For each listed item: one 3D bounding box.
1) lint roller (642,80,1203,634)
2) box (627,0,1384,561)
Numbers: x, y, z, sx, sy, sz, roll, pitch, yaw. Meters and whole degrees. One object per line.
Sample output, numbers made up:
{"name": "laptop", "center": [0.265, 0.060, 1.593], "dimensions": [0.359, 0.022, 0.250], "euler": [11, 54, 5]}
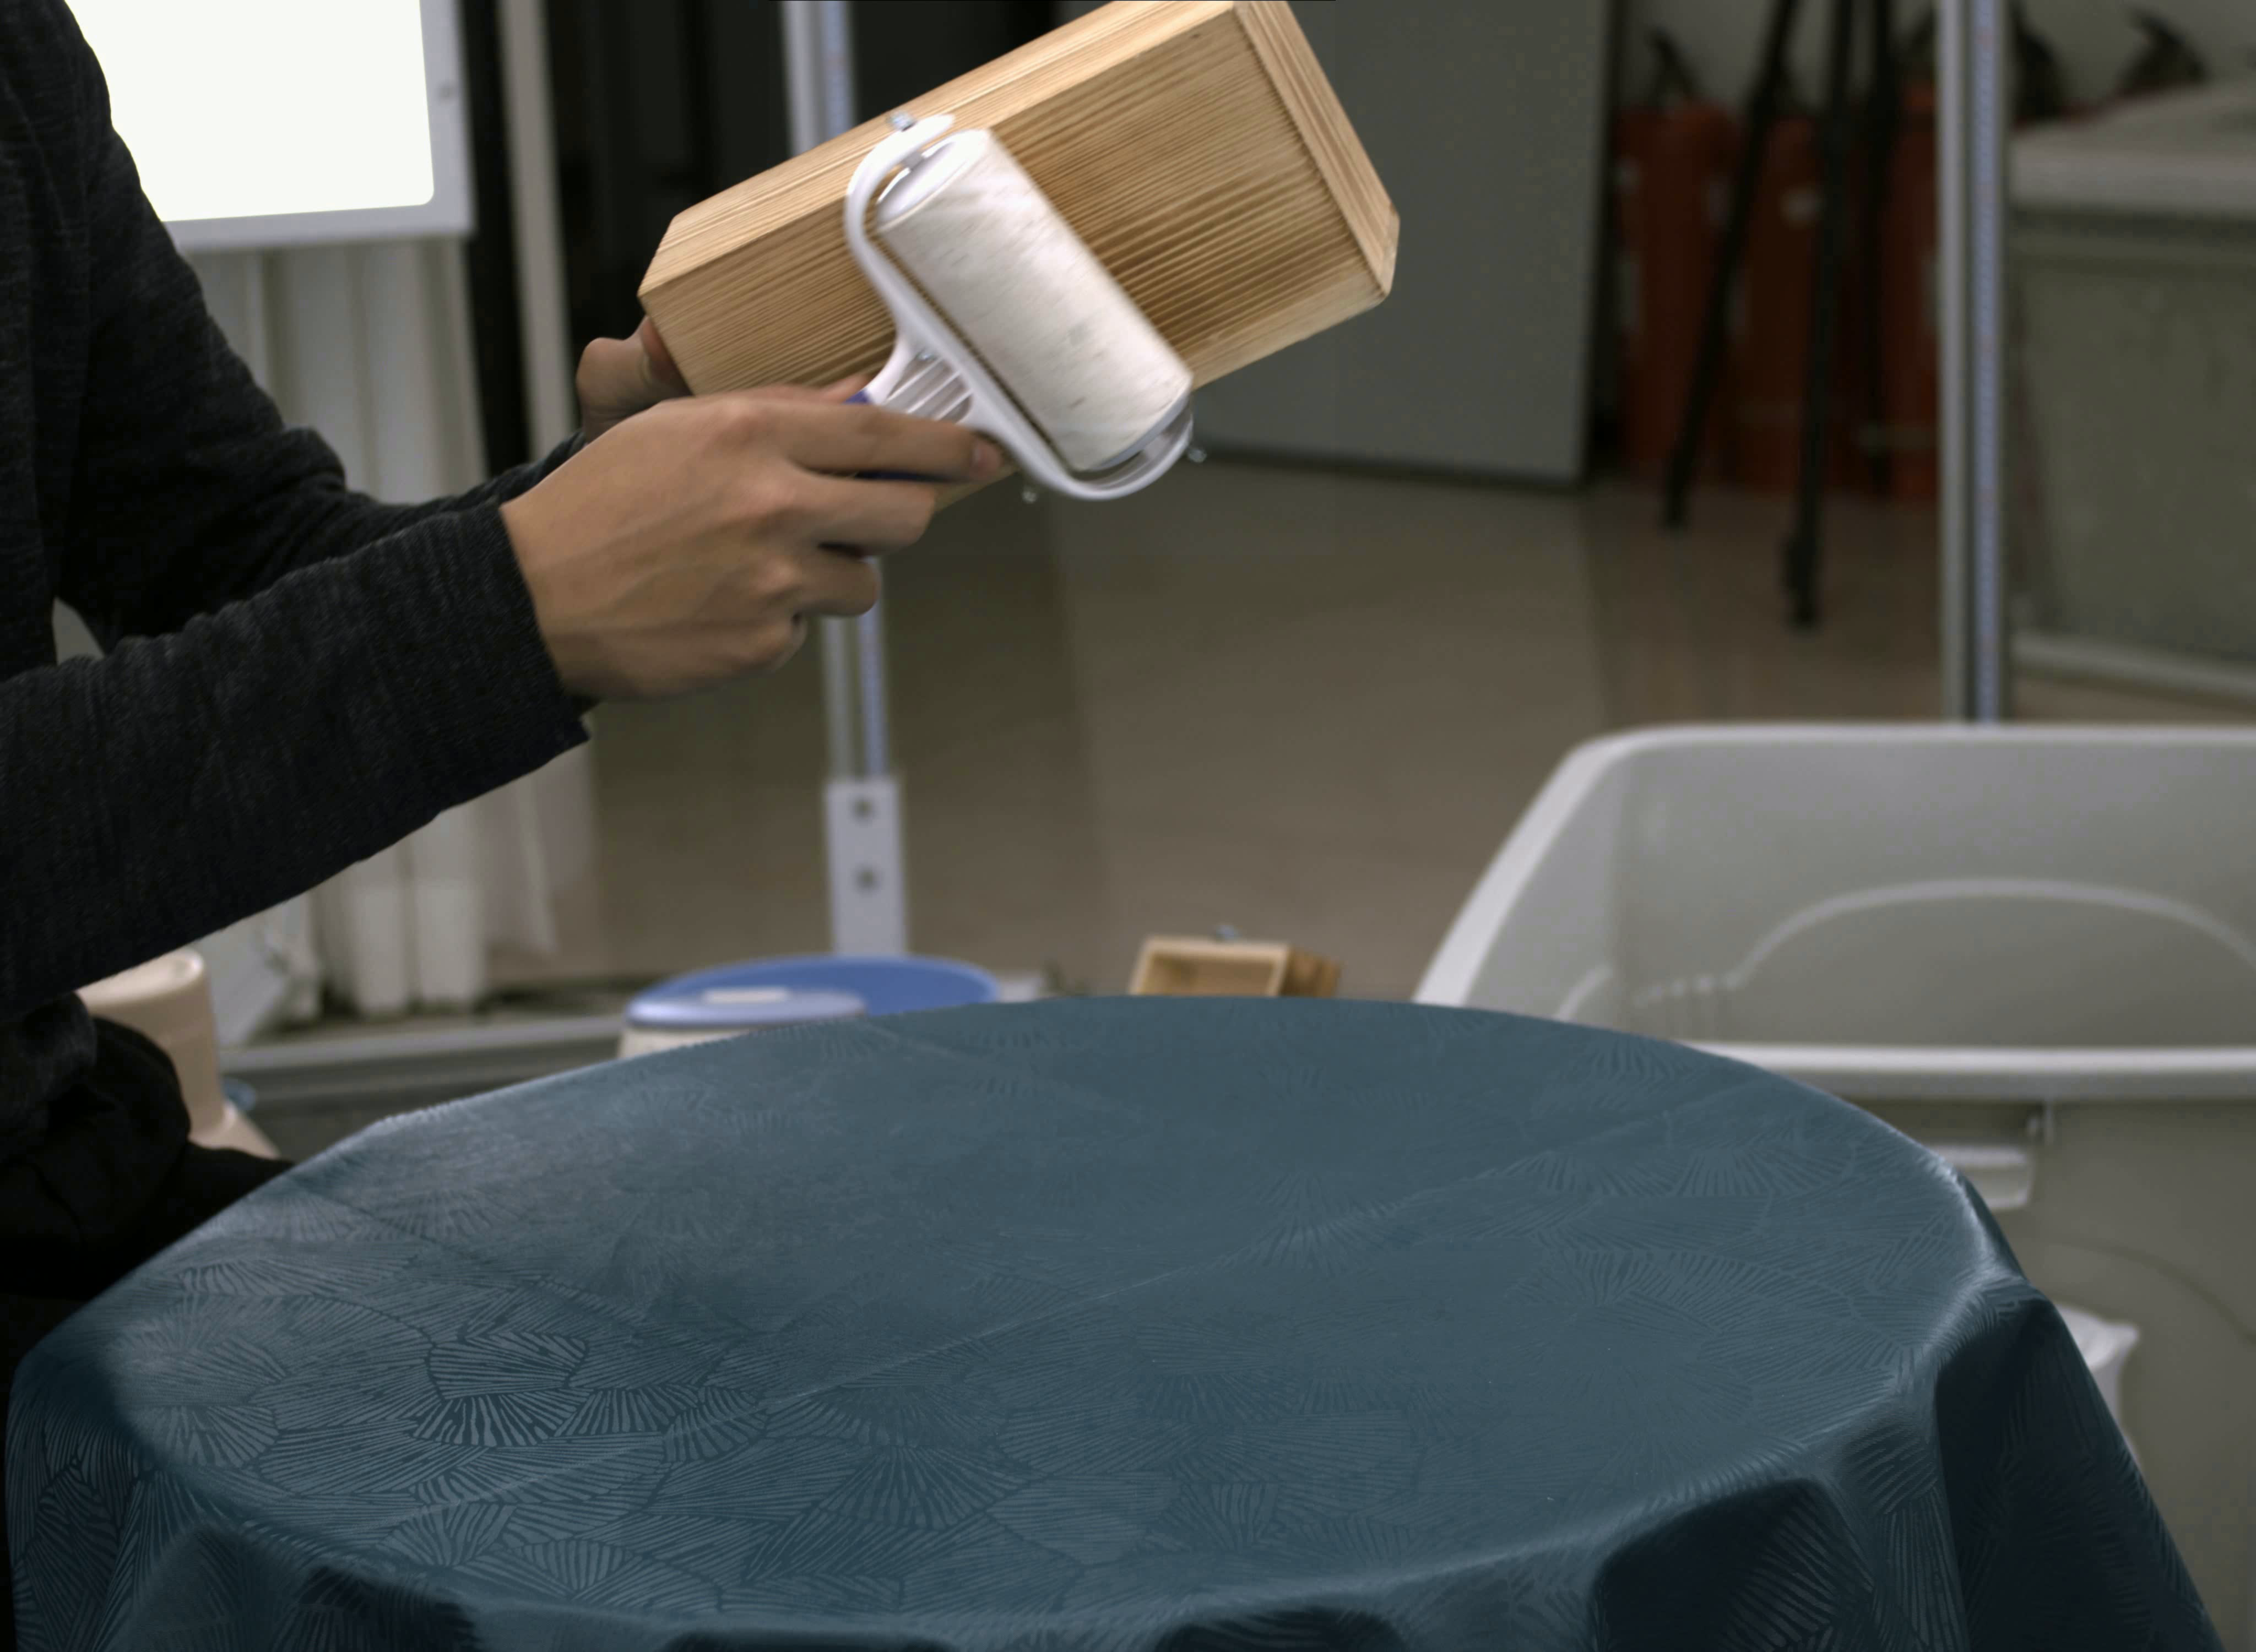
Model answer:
{"name": "lint roller", "center": [-0.076, -0.123, 1.622], "dimensions": [0.180, 0.132, 0.050], "euler": [-42, 15, -8]}
{"name": "box", "center": [-0.036, -0.184, 1.692], "dimensions": [0.211, 0.107, 0.080], "euler": [-24, 19, 16]}
